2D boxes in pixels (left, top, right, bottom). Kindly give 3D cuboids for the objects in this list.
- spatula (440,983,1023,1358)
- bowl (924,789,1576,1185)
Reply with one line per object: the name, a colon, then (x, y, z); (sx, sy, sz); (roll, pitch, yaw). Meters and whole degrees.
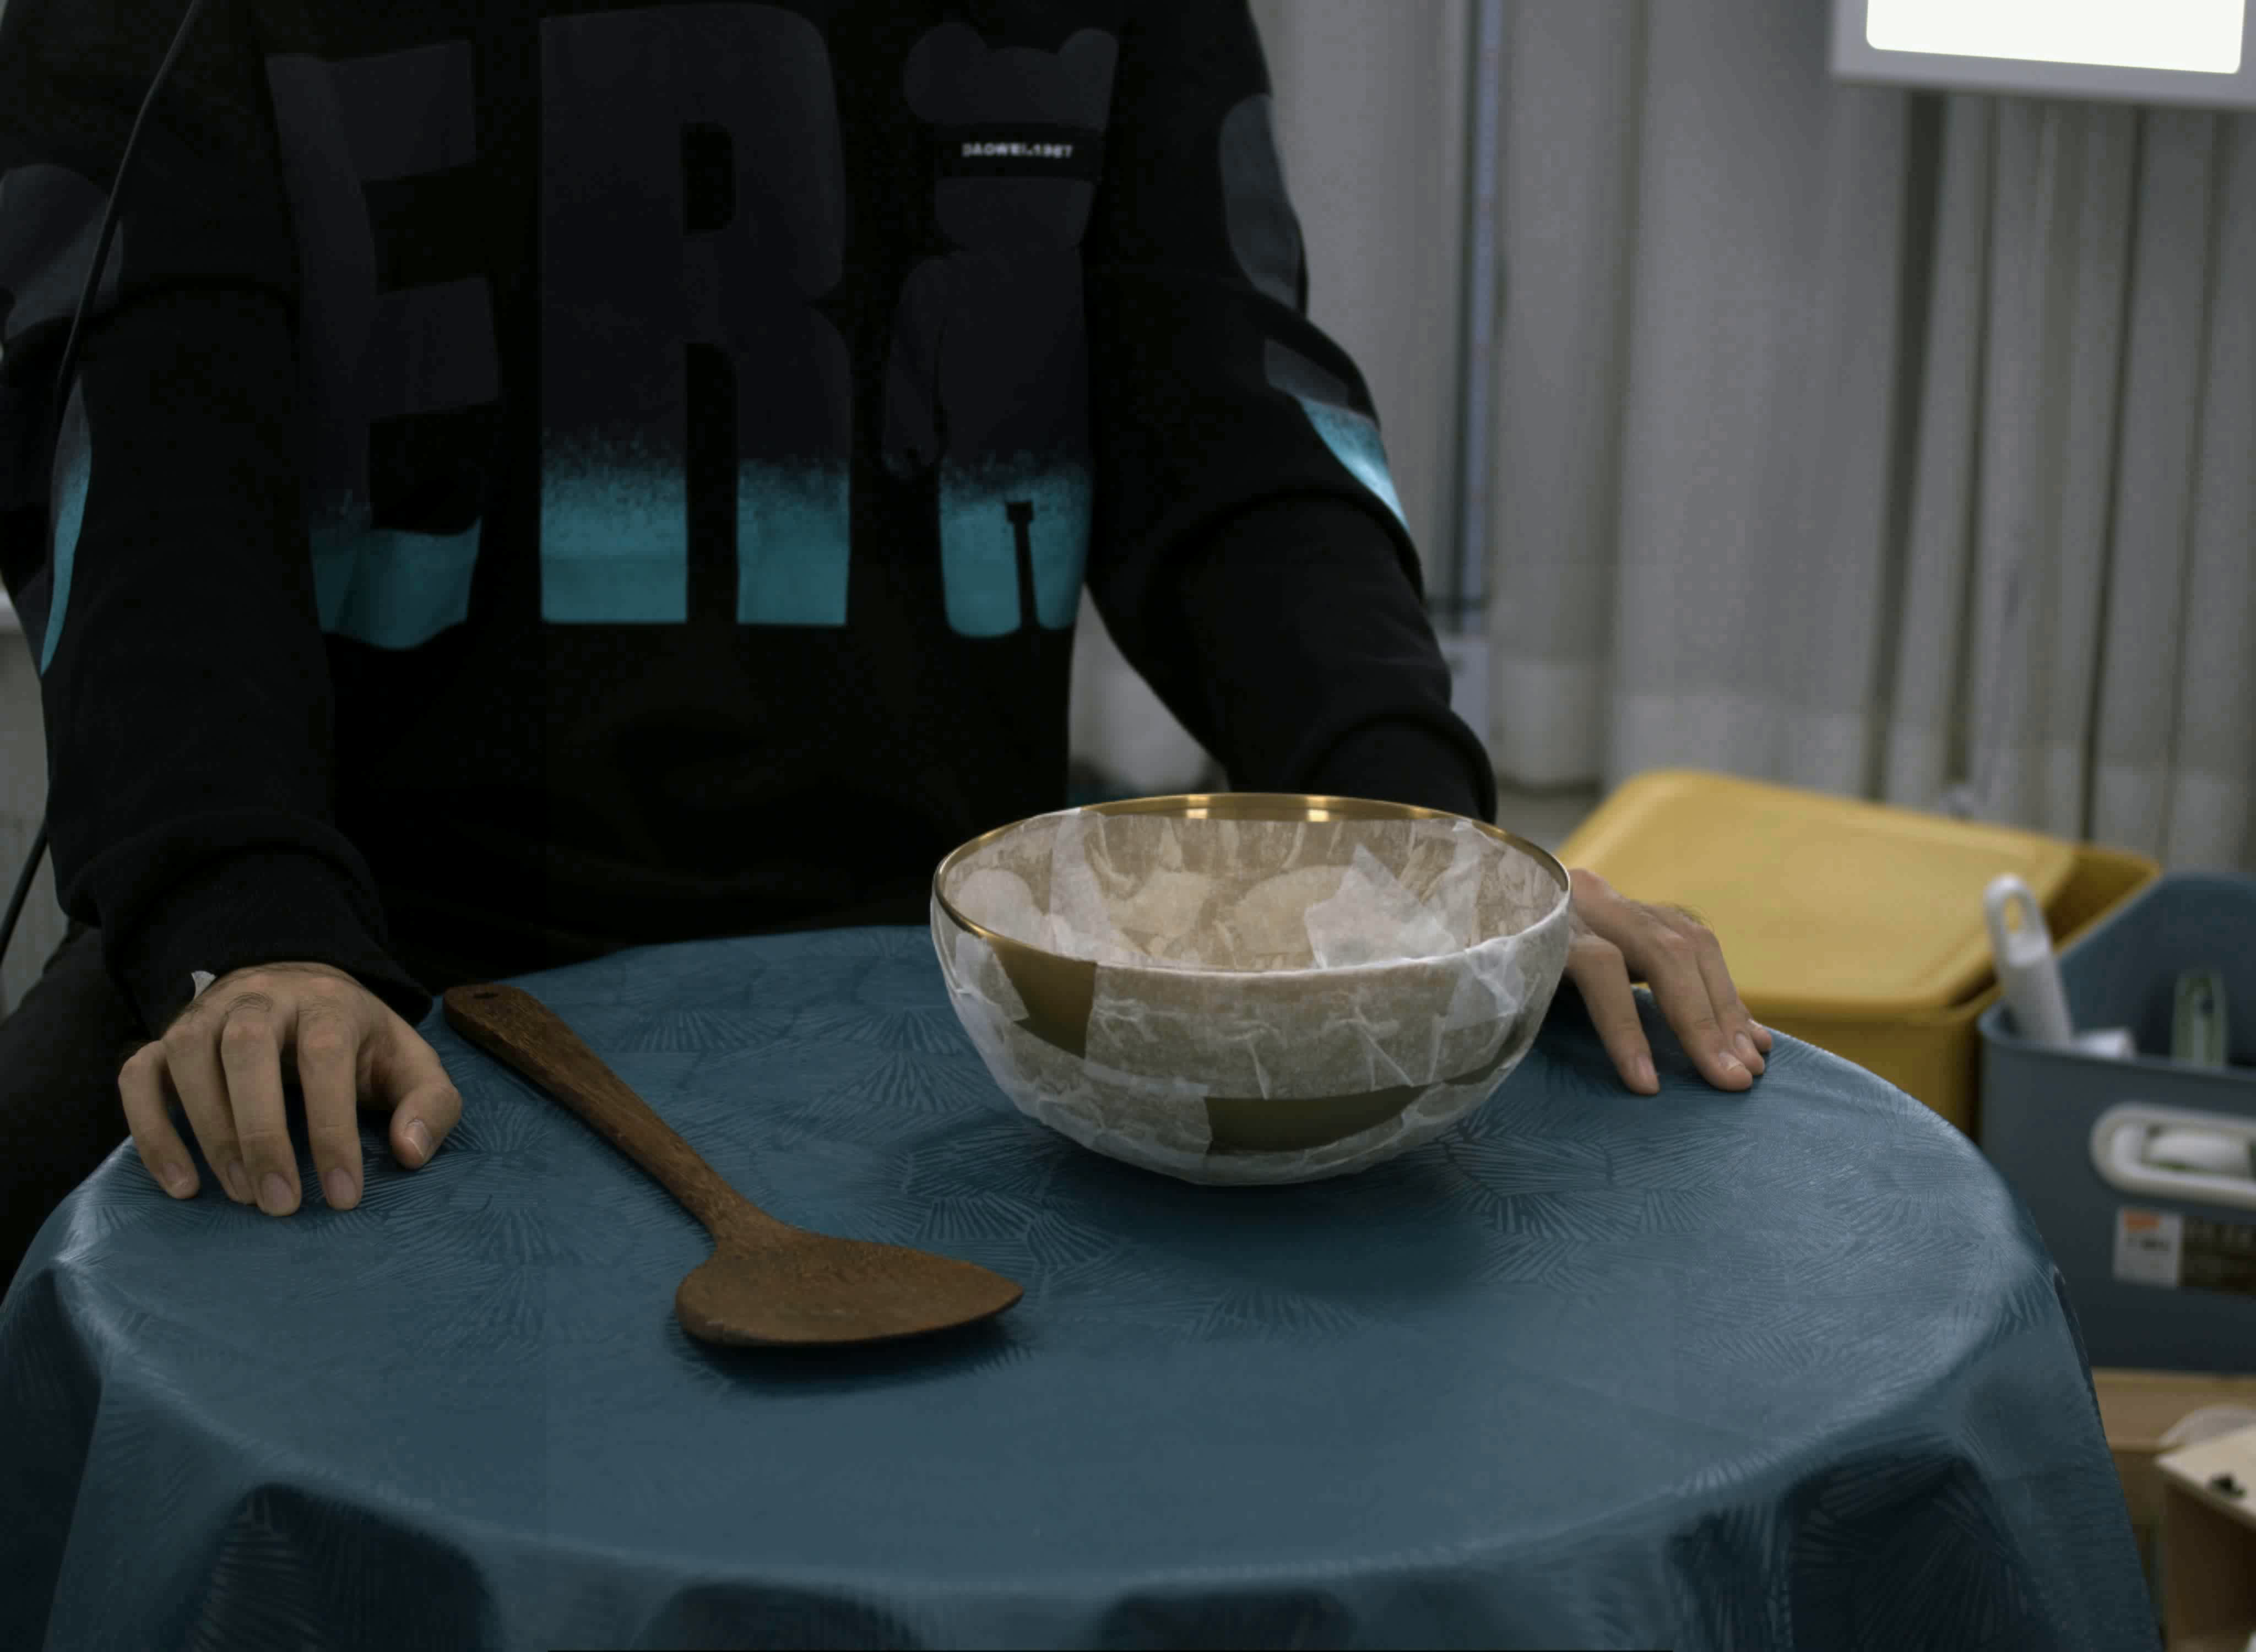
spatula: (-0.146, 0.101, 1.637); (0.096, 0.016, 0.381); (-6, 17, -25)
bowl: (0.040, 0.058, 1.652); (0.214, 0.095, 0.213); (-1, 15, 1)
